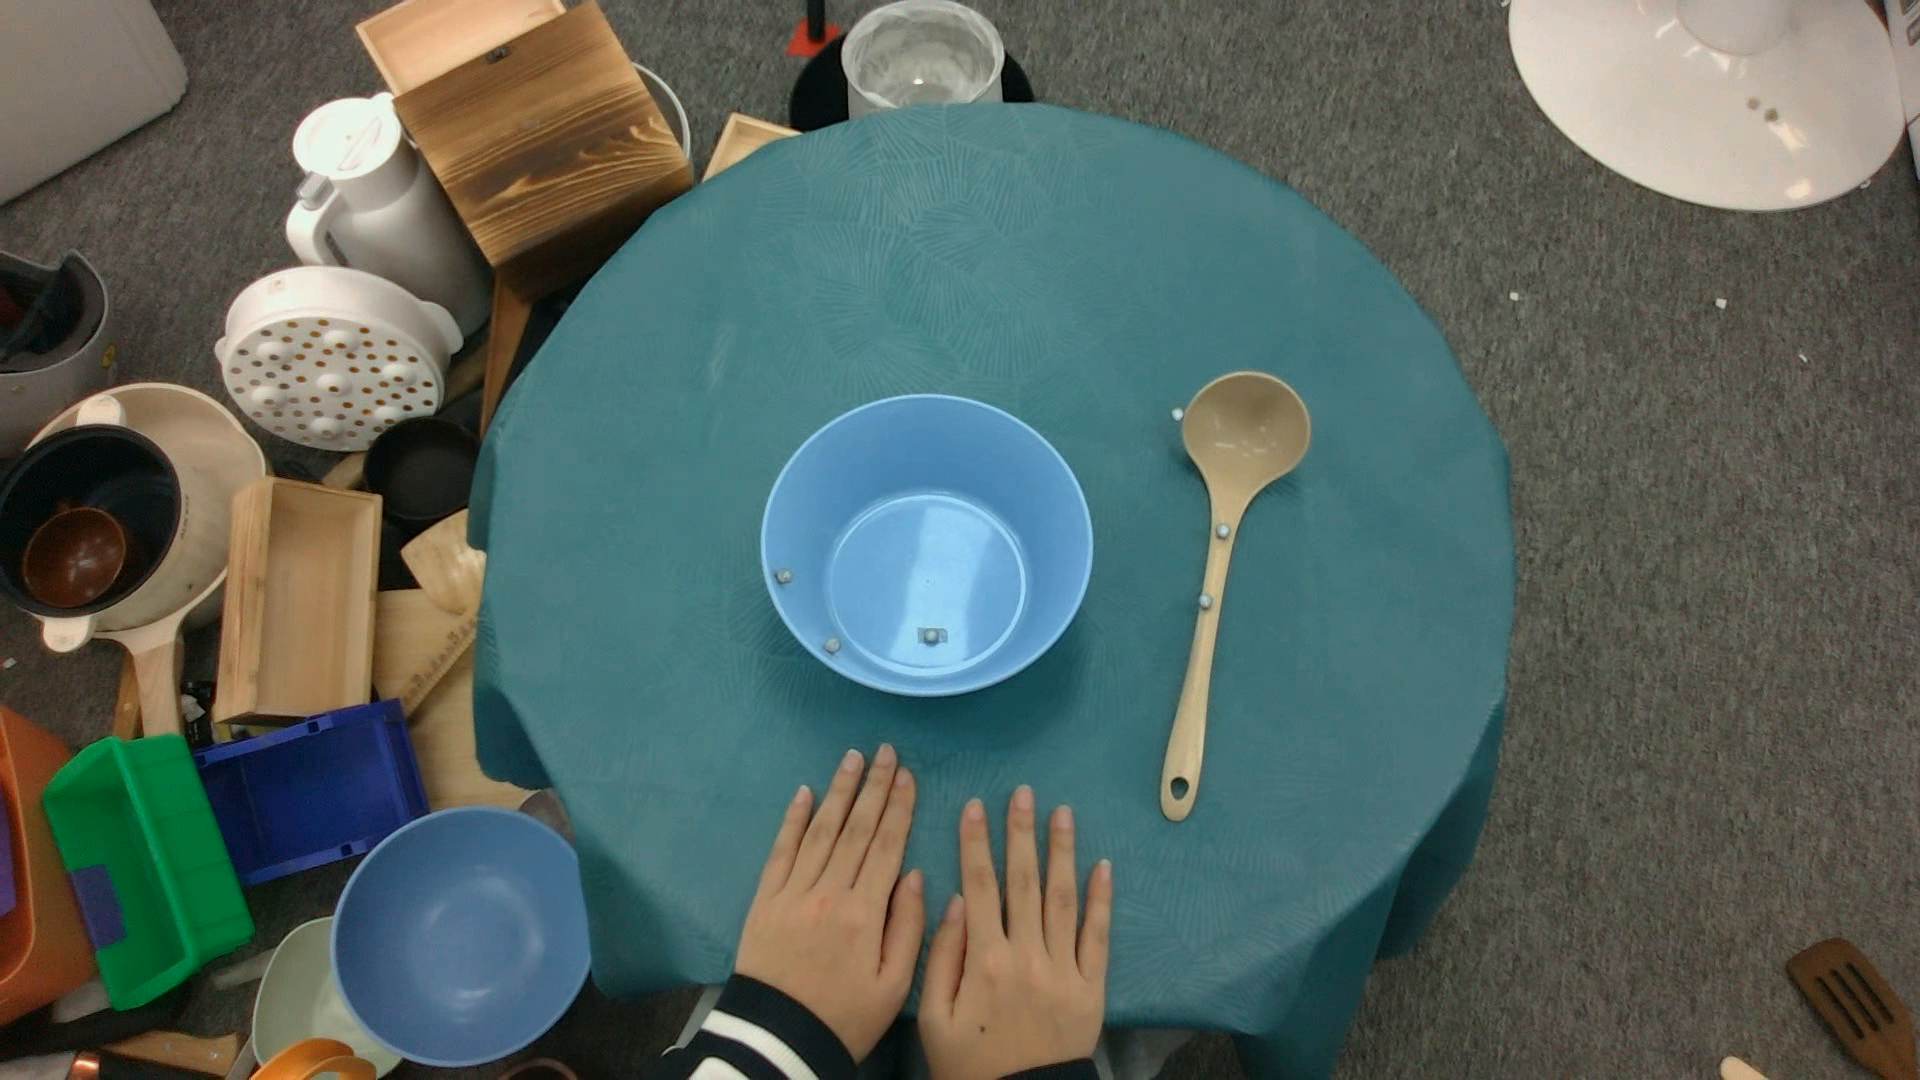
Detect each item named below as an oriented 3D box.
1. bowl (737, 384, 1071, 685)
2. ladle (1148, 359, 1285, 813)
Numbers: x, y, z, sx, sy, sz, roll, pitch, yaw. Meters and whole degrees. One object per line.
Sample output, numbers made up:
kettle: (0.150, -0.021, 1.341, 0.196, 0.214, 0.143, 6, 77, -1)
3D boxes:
bowl: (-0.030, 0.006, 0.754, 0.176, 0.070, 0.176, 1, 64, -1)
ladle: (0.132, 0.017, 0.754, 0.072, 0.072, 0.255, 10, 65, 5)
